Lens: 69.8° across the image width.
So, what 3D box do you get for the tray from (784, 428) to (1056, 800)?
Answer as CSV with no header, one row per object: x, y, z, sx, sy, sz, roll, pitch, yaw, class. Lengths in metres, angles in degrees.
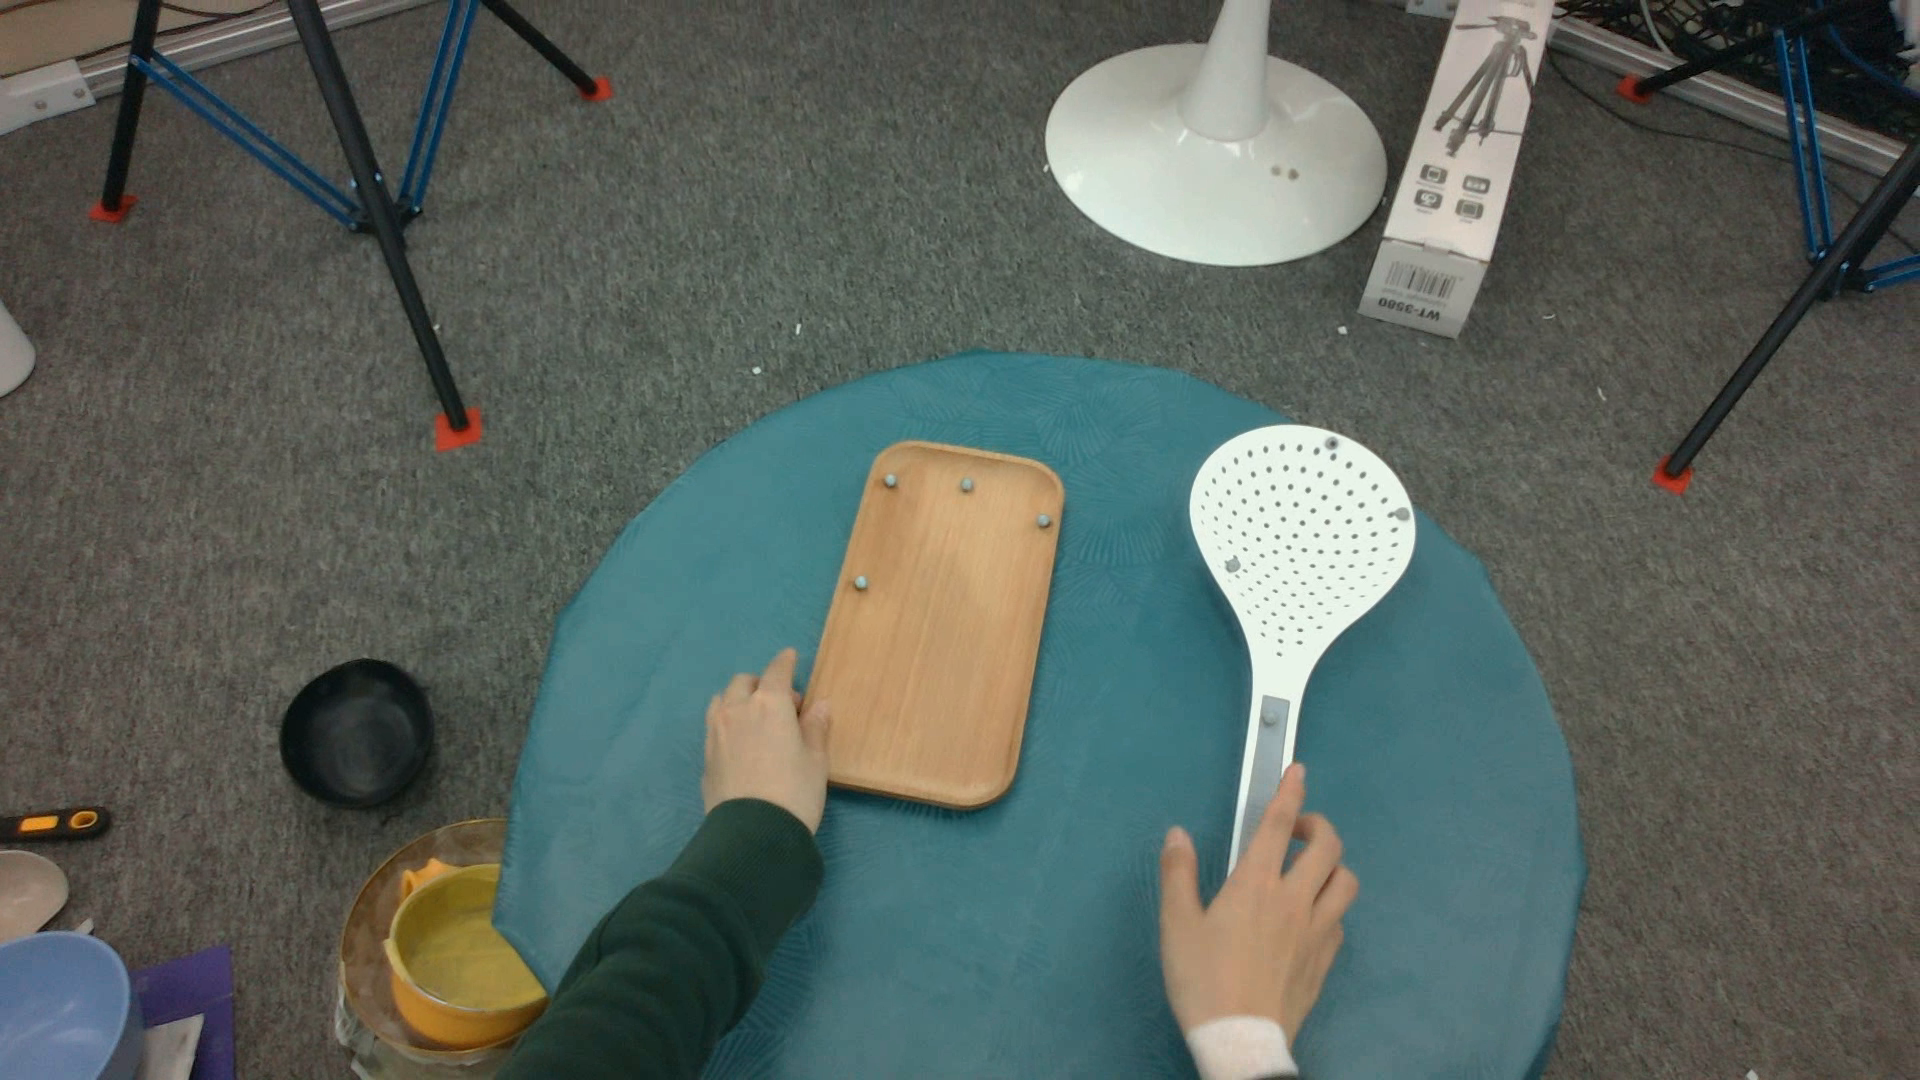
-0.019,0.037,0.828,0.130,0.023,0.252,9,55,5,tray

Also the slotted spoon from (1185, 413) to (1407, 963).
0.181,0.071,0.798,0.136,0.045,0.351,12,55,7,slotted spoon
